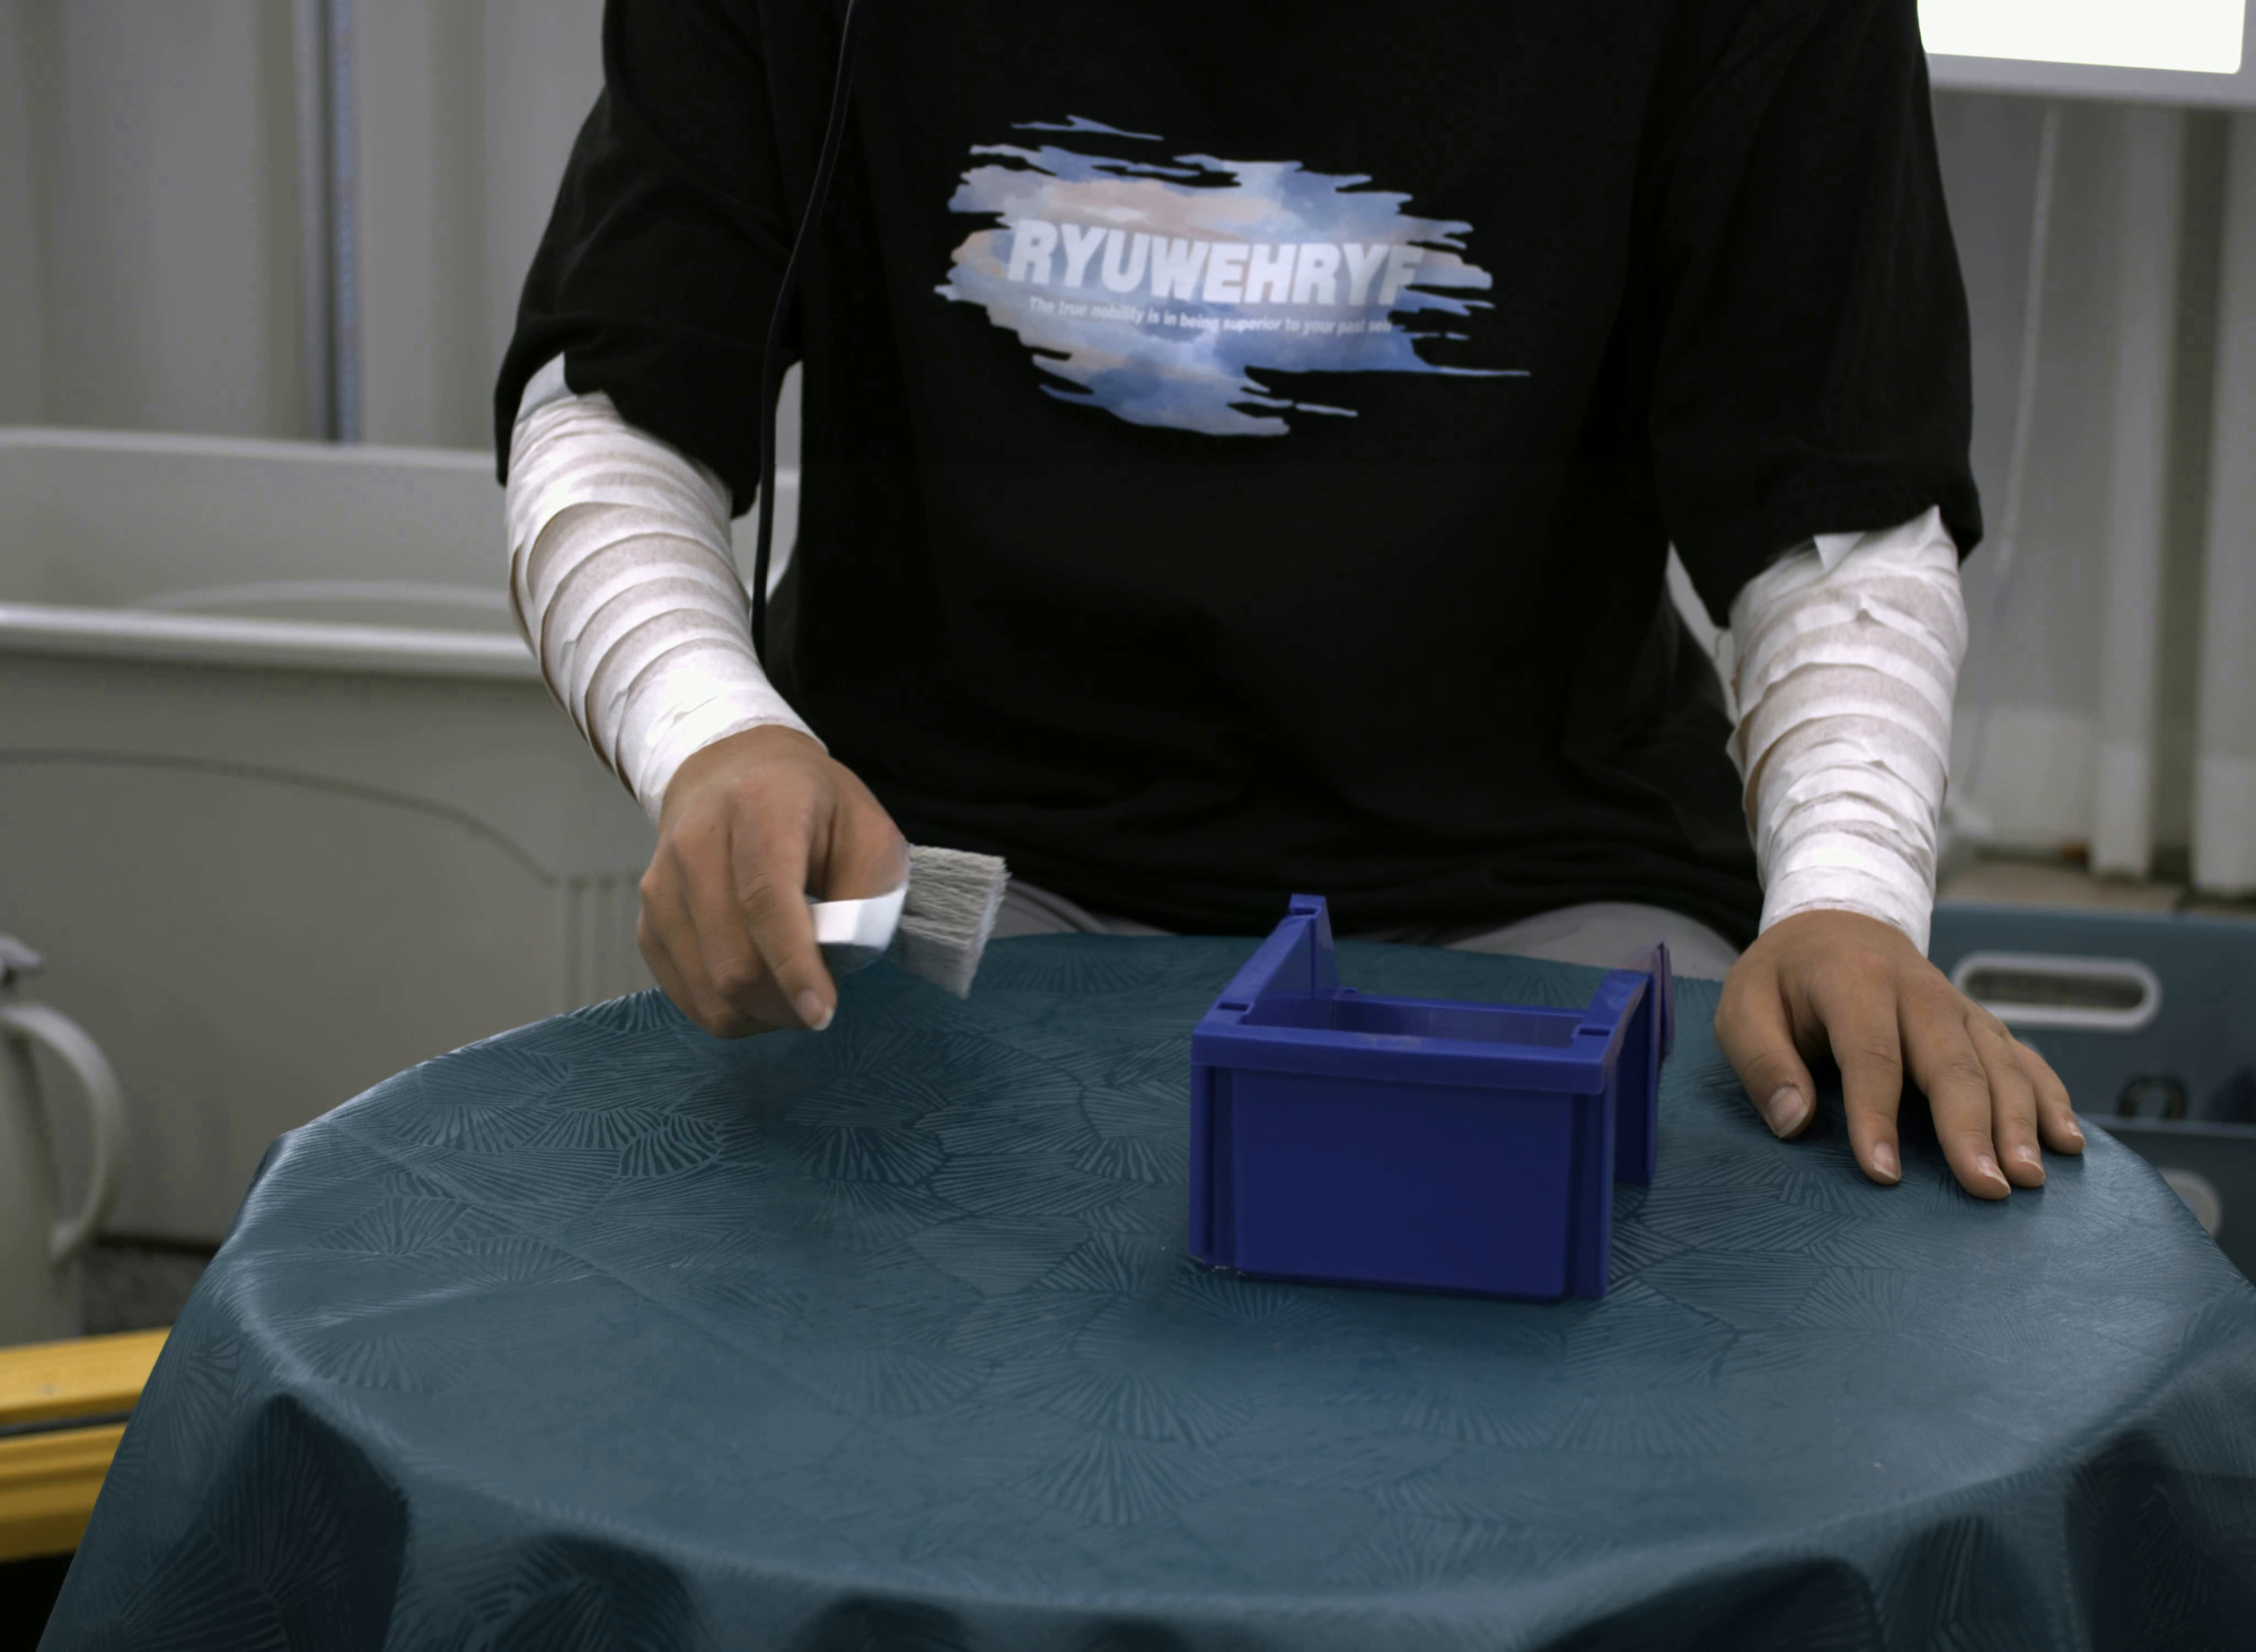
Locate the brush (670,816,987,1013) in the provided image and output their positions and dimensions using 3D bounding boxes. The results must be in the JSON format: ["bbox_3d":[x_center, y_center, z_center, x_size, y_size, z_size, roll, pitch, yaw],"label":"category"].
[{"bbox_3d":[-0.091,0.039,1.630,0.050,0.034,0.243,25,-17,-13],"label":"brush"}]

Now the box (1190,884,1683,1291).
[{"bbox_3d":[0.096,0.075,1.609,0.123,0.082,0.179,4,17,13],"label":"box"}]
